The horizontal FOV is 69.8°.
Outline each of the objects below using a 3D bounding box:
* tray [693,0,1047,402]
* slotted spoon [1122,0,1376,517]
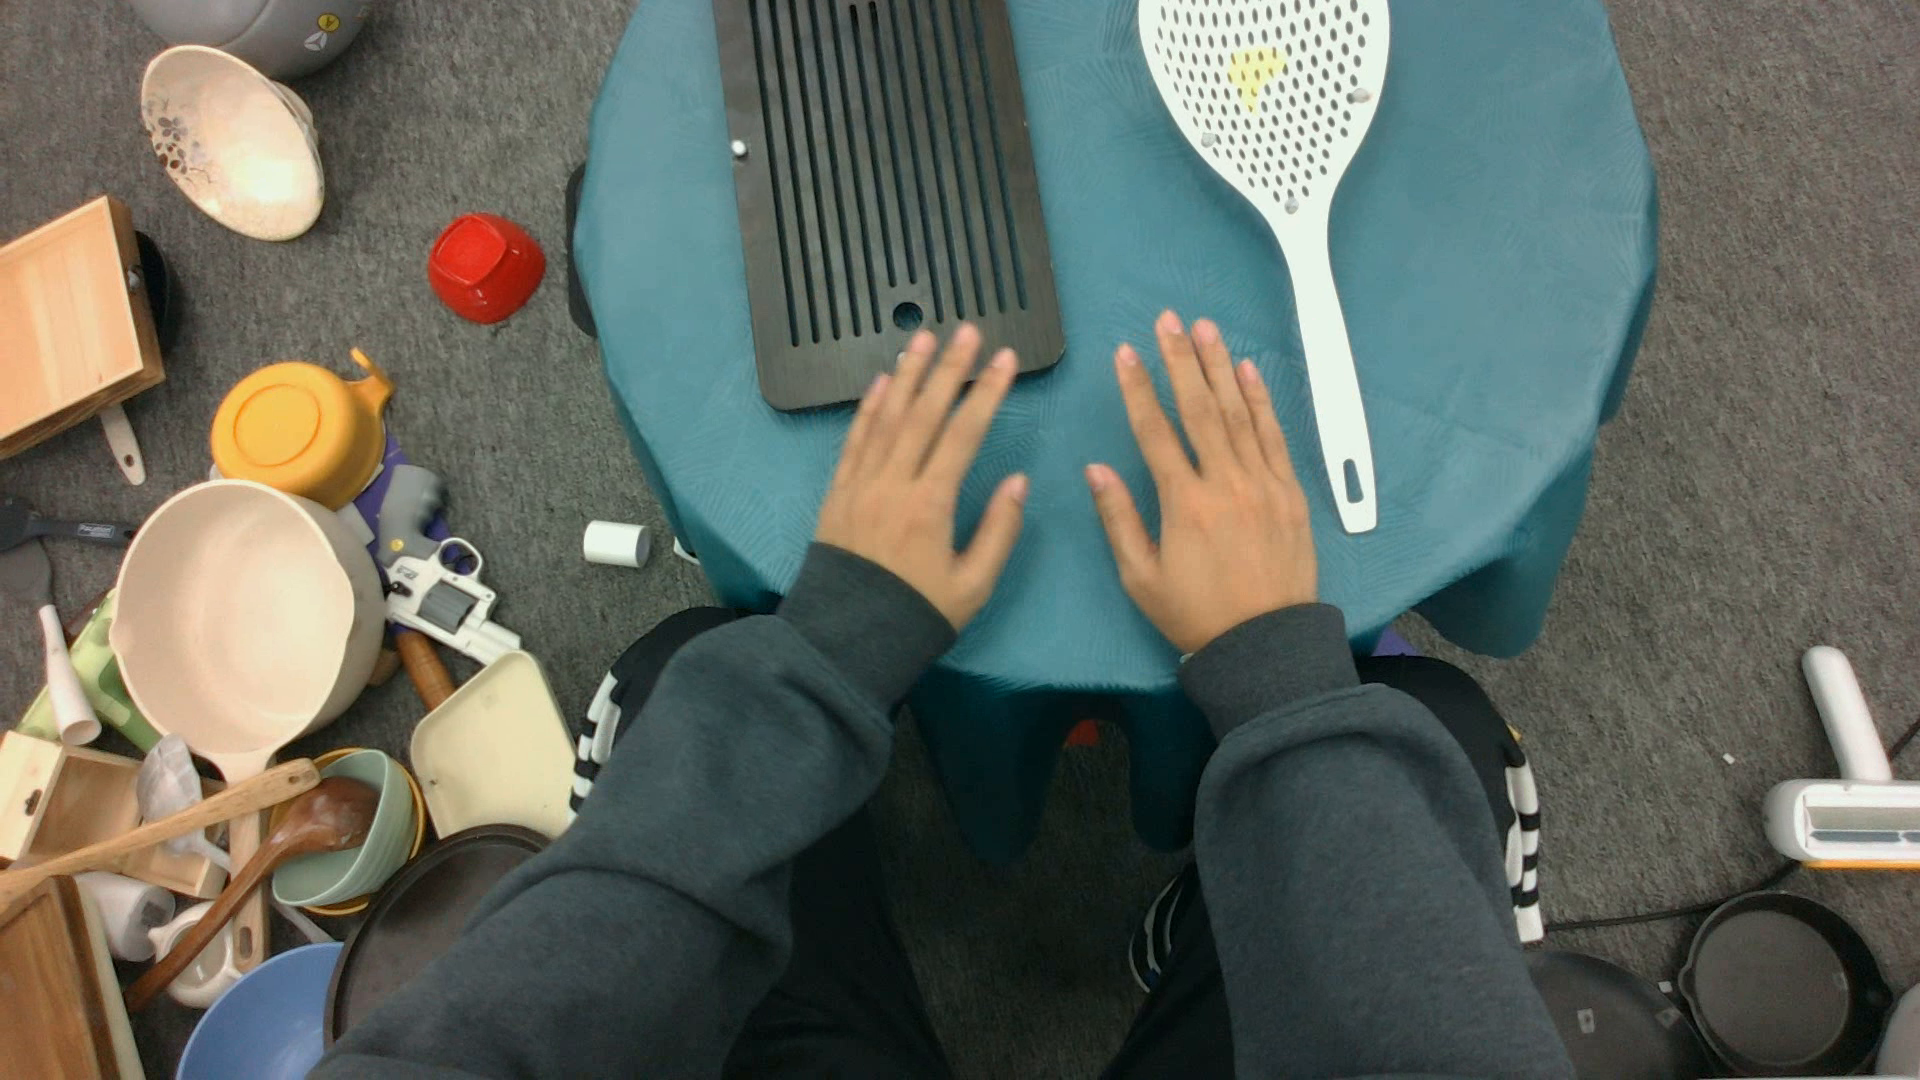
[{"bbox_3d":[-0.057,-0.231,0.785,0.170,0.018,0.306,-9,75,1],"label":"tray"},{"bbox_3d":[0.175,-0.183,0.745,0.137,0.050,0.348,-9,75,-1],"label":"slotted spoon"}]
